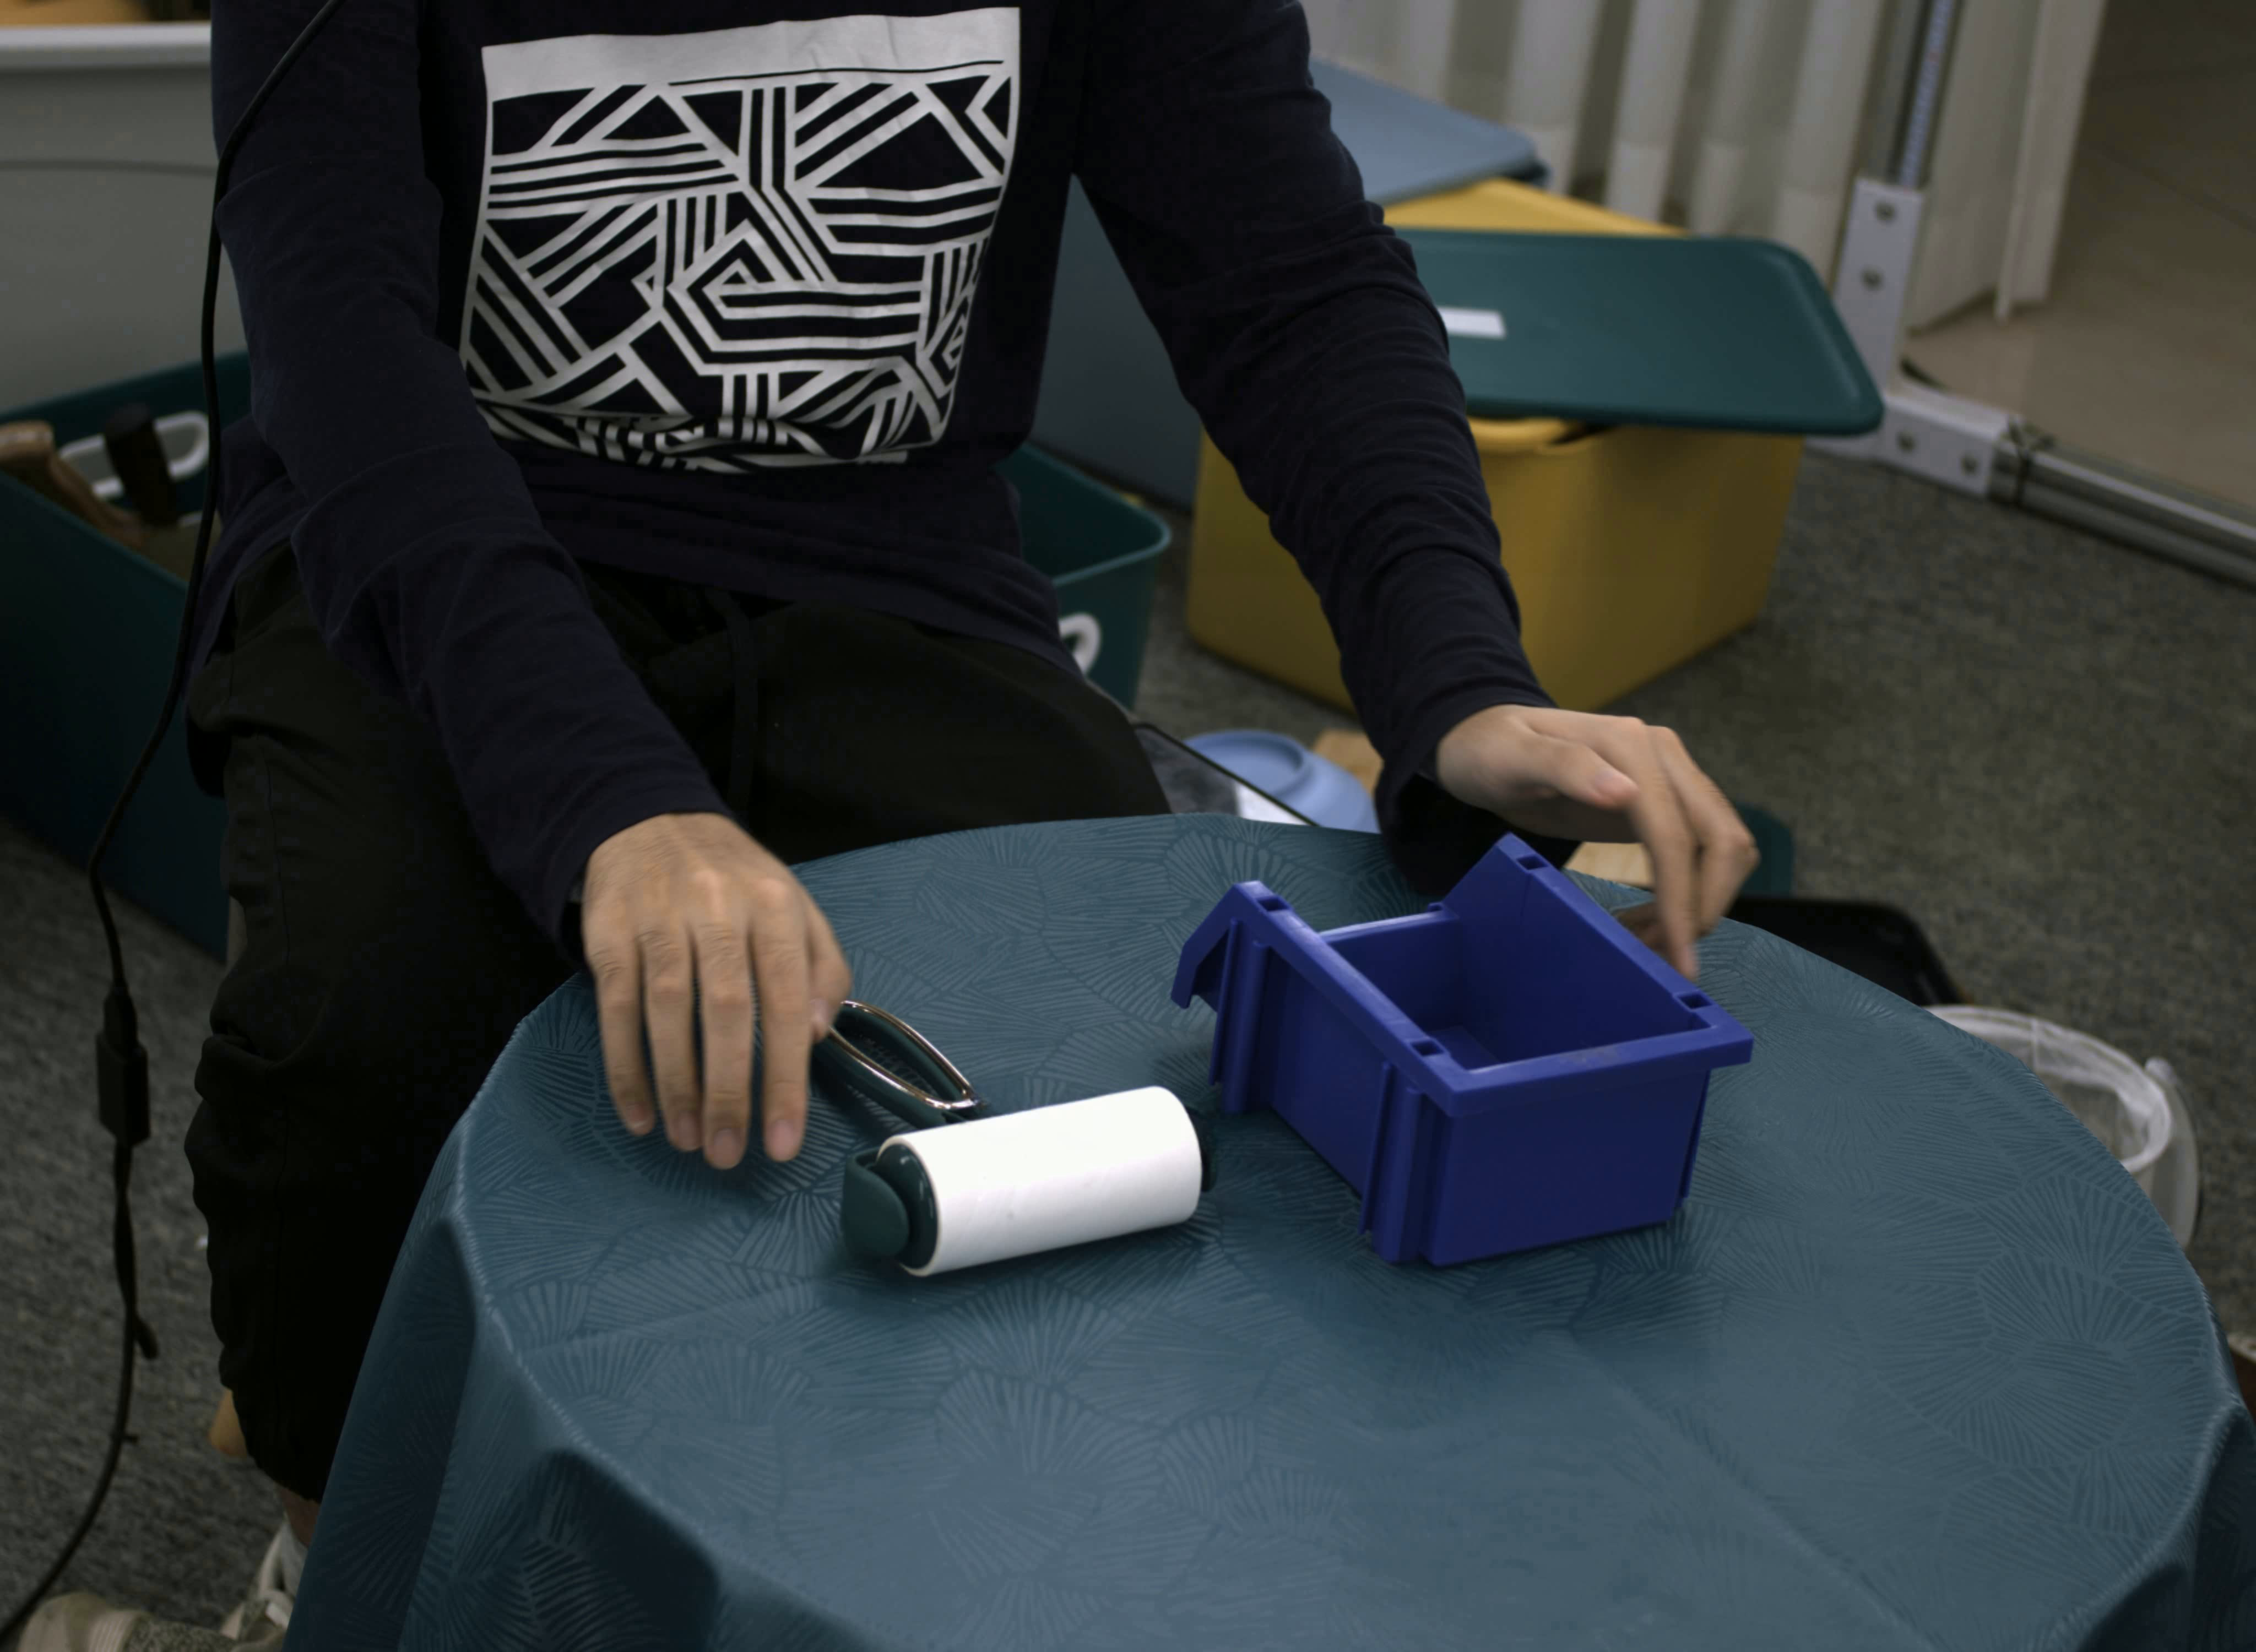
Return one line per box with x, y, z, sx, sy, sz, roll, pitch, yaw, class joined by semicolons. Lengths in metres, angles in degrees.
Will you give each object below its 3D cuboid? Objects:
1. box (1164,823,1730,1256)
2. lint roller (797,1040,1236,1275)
0.105;0.069;1.847;0.124;0.081;0.181;-8;33;-25;box
-0.064;0.092;1.813;0.133;0.048;0.181;-10;26;-28;lint roller
